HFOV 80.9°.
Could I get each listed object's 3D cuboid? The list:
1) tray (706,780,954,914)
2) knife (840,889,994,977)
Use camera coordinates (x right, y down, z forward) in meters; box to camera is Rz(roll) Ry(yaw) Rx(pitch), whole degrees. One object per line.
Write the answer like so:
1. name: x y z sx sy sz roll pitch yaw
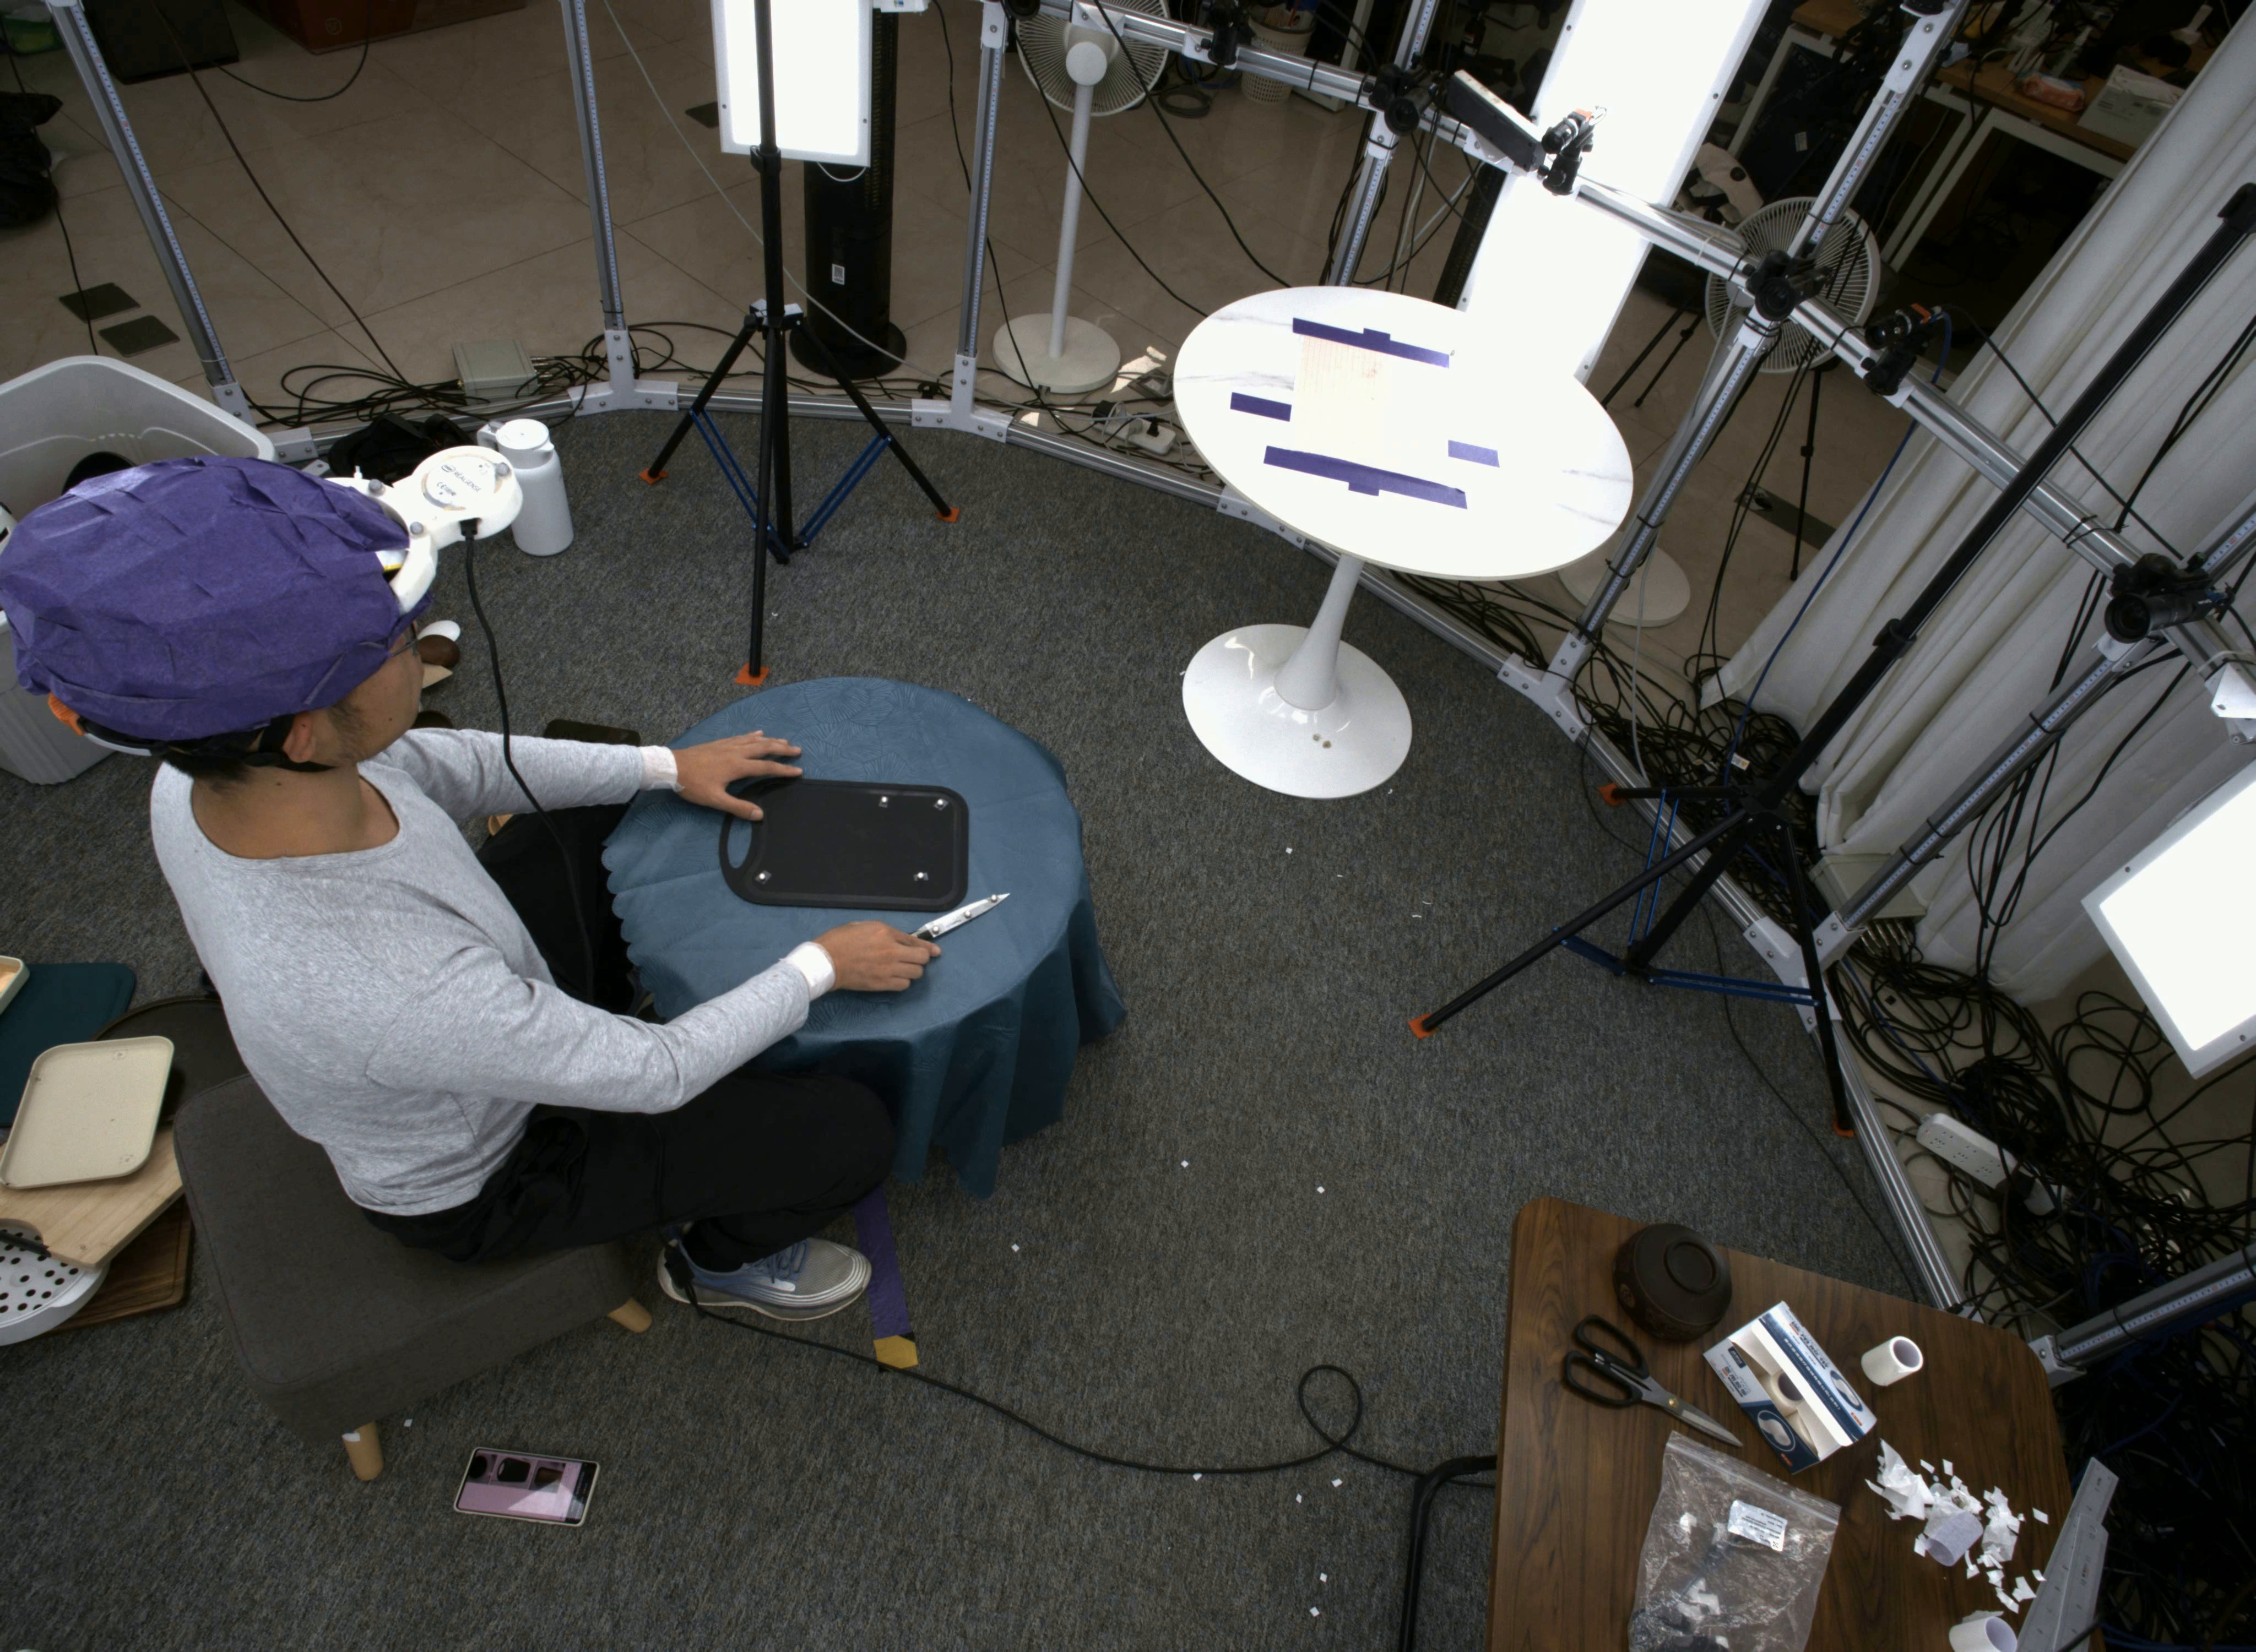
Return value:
1. tray: -0.393 0.024 1.722 0.325 0.010 0.207 3 53 -12
2. knife: -0.264 0.133 1.670 0.239 0.016 0.024 -28 66 -33
